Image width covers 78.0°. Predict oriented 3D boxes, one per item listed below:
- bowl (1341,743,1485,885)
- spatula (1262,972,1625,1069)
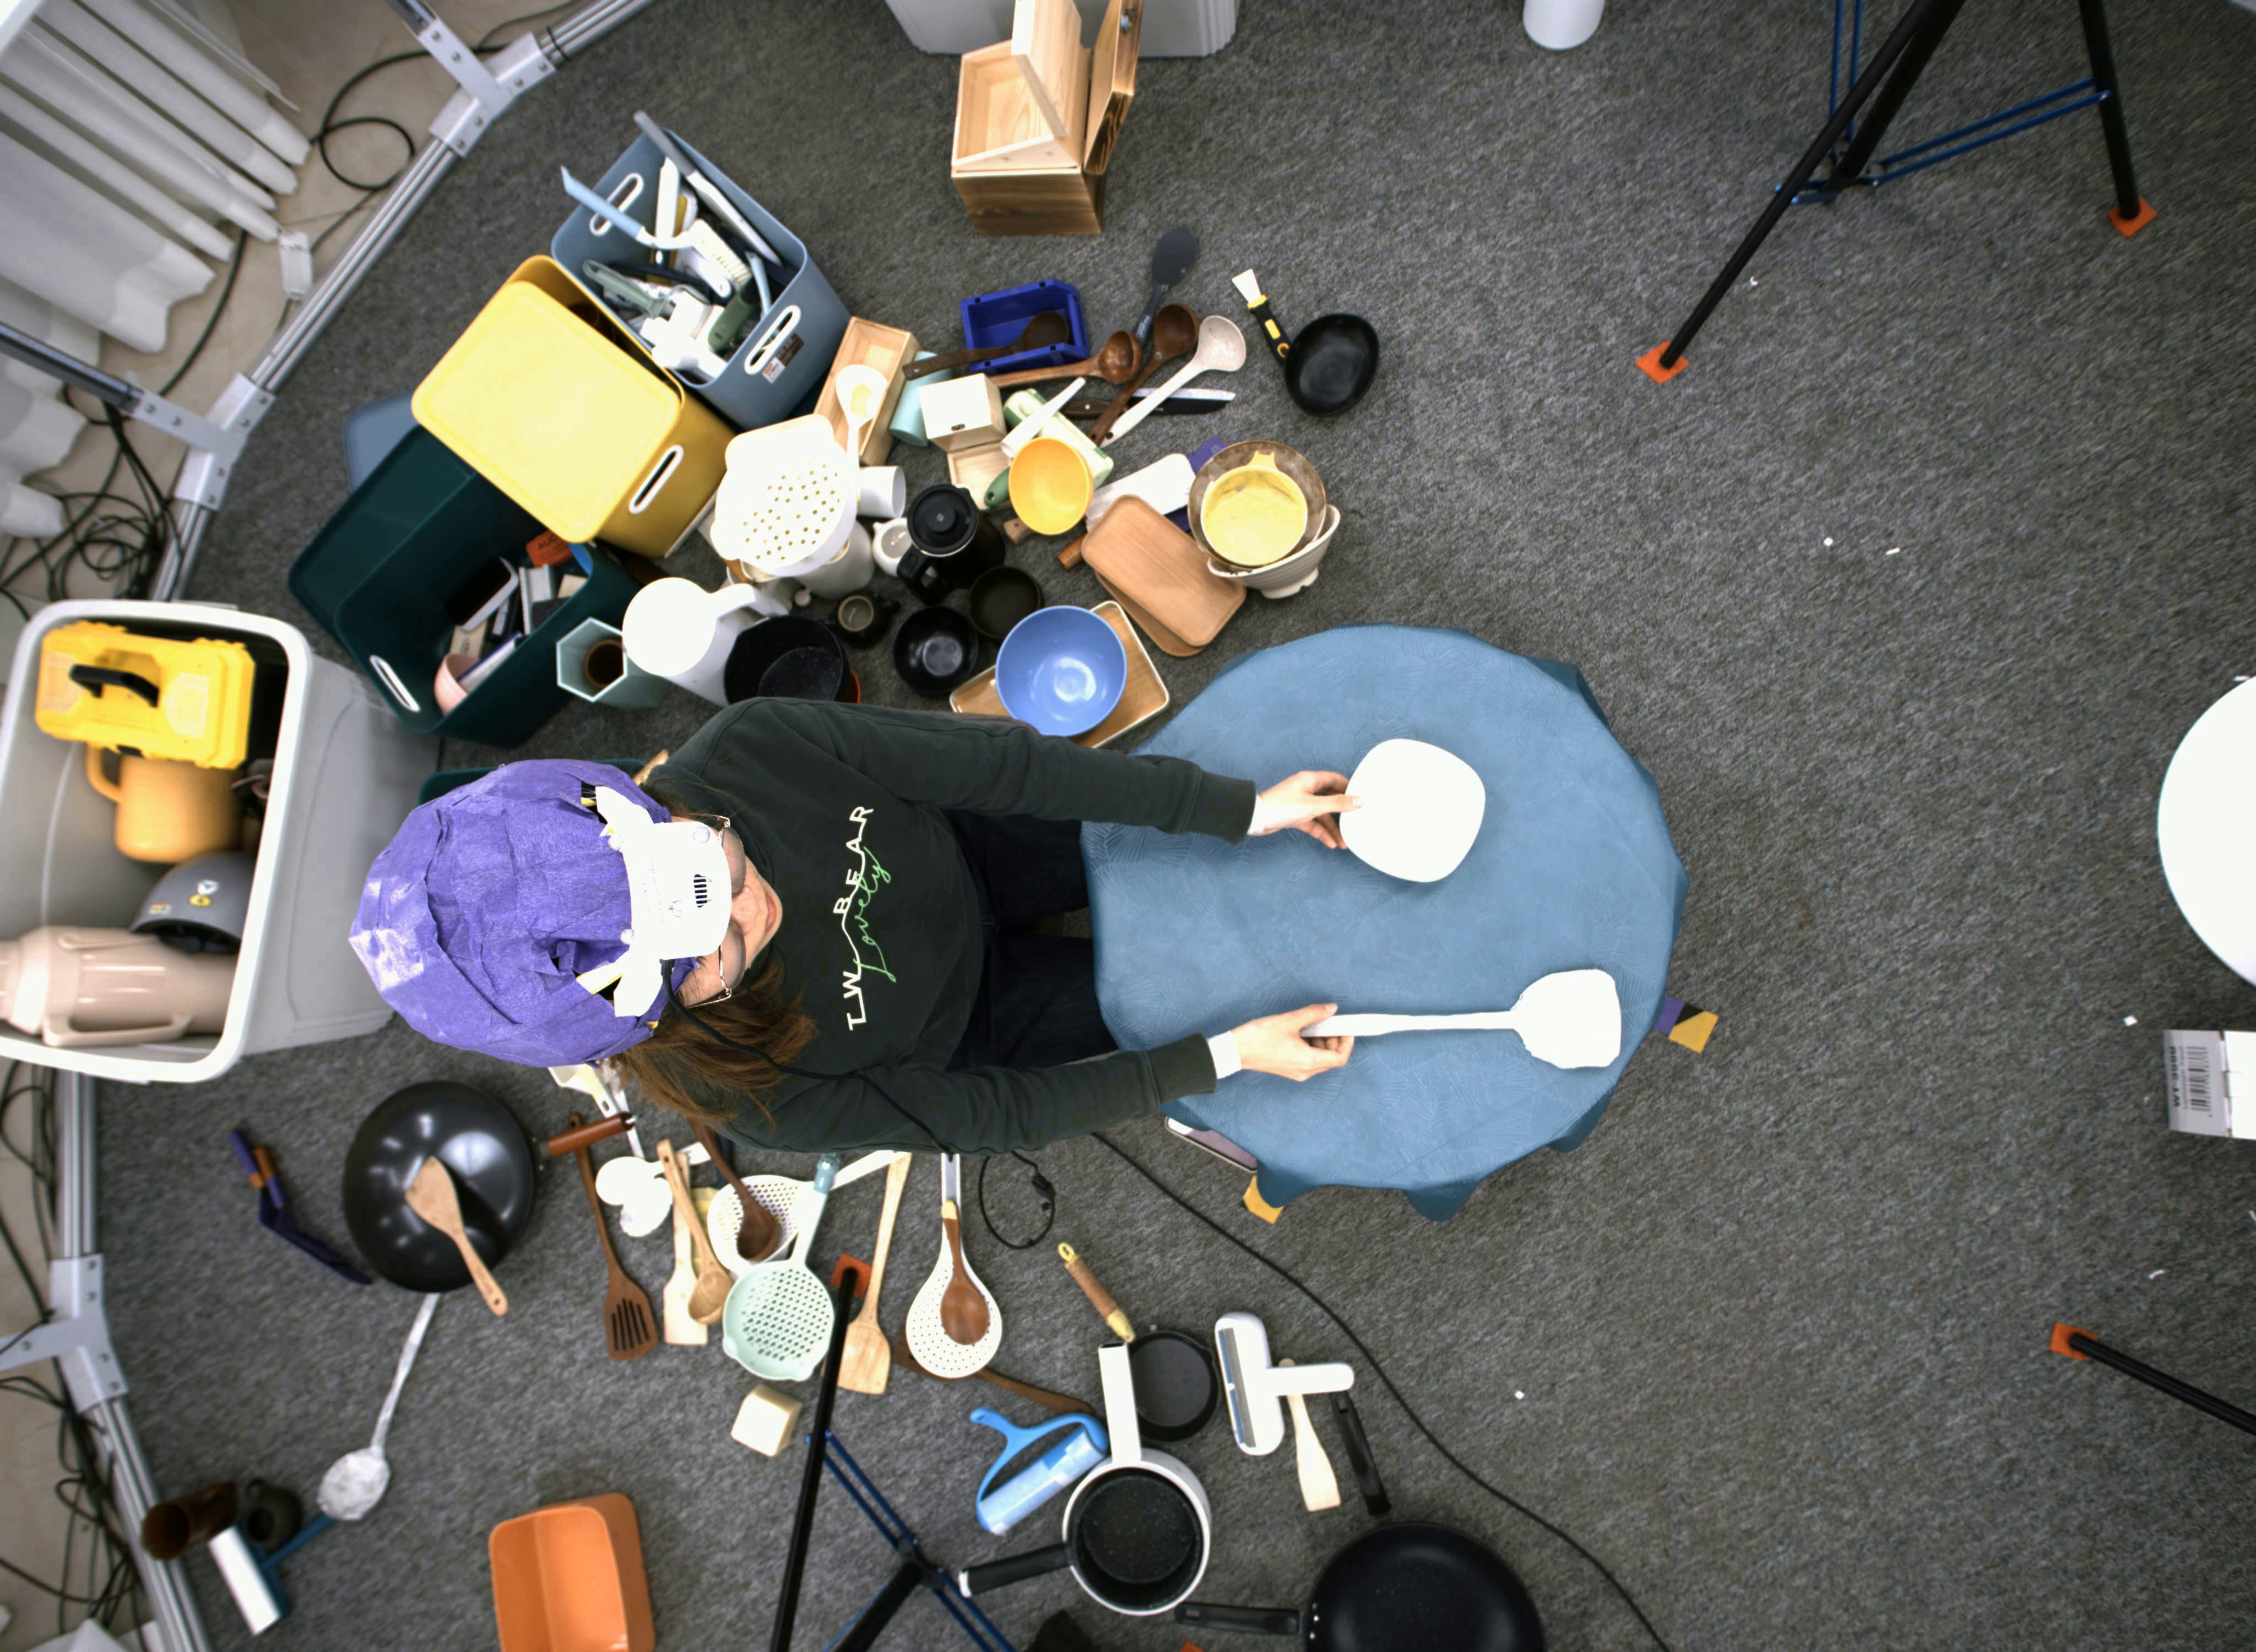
[{"bbox_3d":[0.295,-0.011,1.438,0.152,0.059,0.150,-1,85,8],"label":"bowl"},{"bbox_3d":[0.320,0.198,1.416,0.366,0.045,0.098,-1,86,4],"label":"spatula"}]
